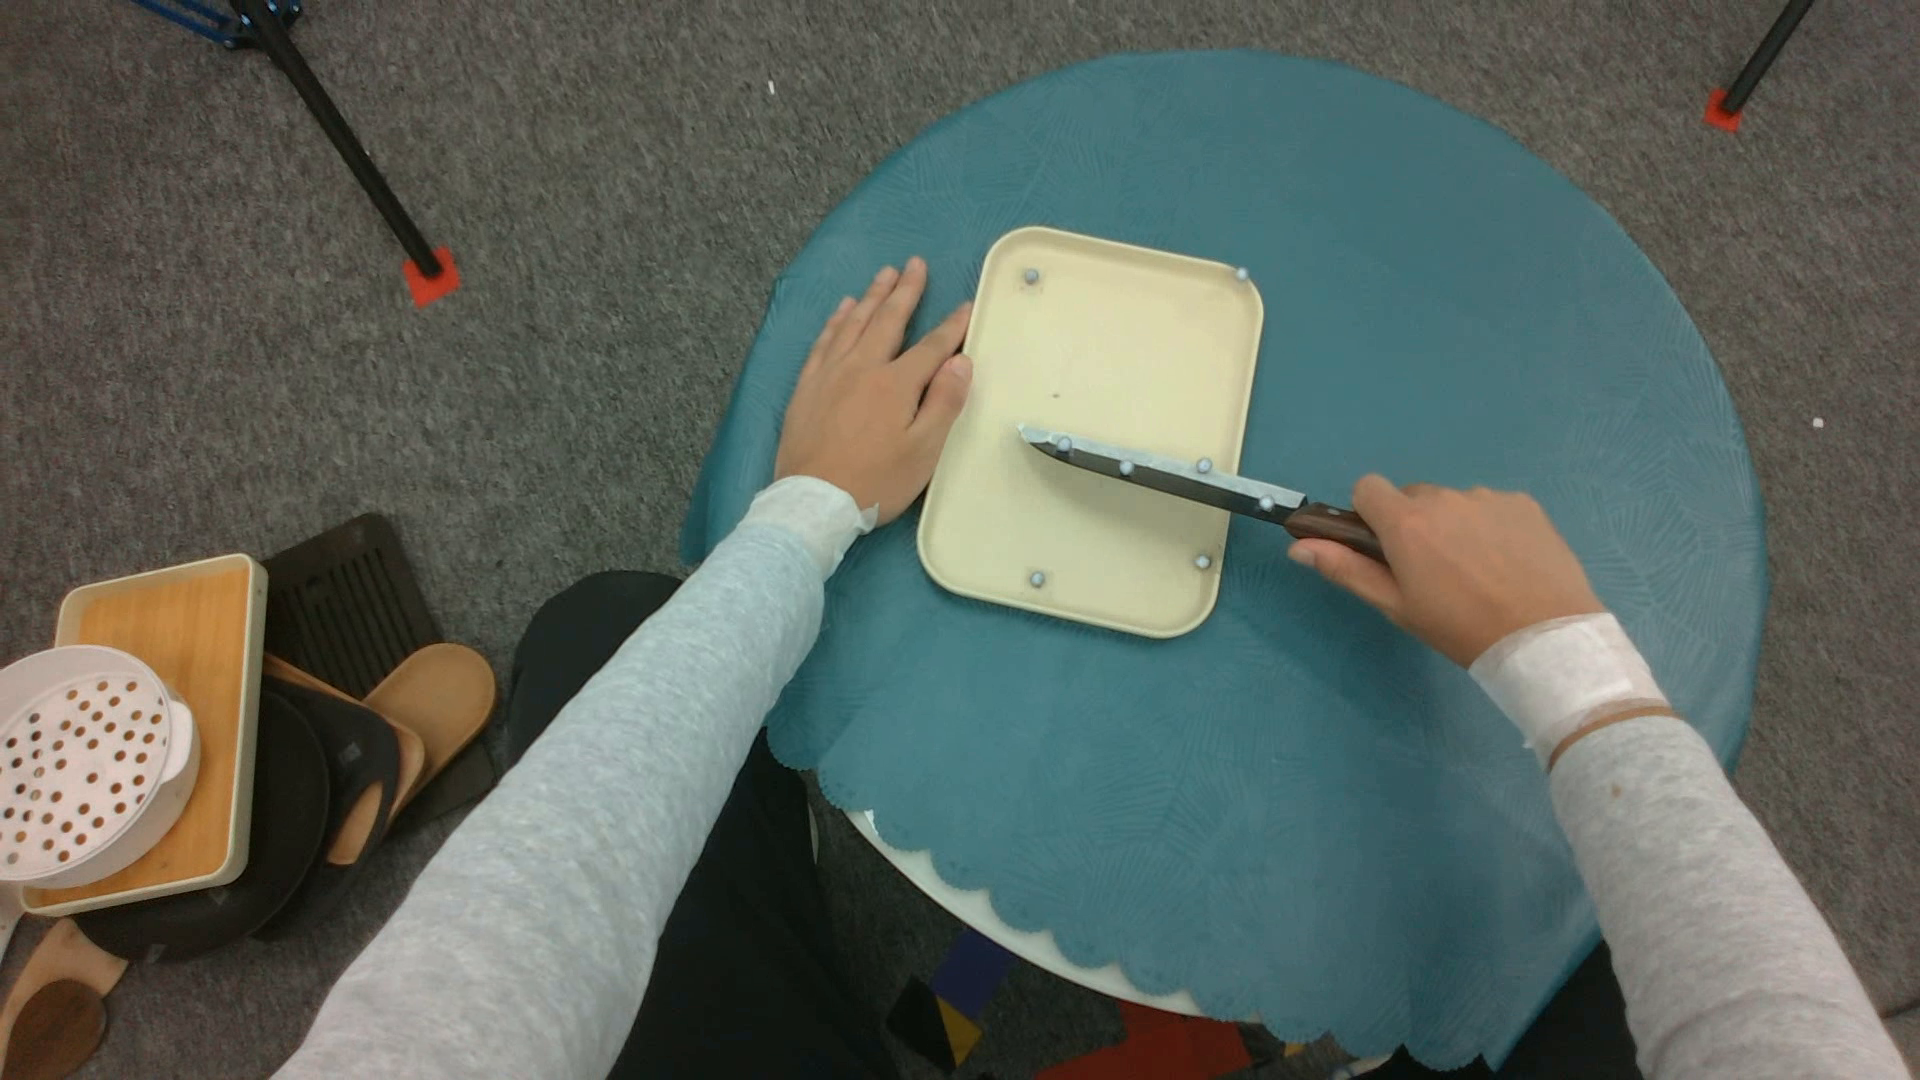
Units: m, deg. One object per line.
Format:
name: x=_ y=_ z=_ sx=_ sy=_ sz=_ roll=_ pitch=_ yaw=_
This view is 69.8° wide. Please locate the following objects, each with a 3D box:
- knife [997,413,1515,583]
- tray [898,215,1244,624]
knife: x=0.151 y=-0.029 z=0.744 sx=0.289 sy=0.020 sz=0.050 roll=18 pitch=28 yaw=18
tray: x=0.067 y=-0.074 z=0.797 sx=0.171 sy=0.017 sz=0.240 roll=13 pitch=70 yaw=3
